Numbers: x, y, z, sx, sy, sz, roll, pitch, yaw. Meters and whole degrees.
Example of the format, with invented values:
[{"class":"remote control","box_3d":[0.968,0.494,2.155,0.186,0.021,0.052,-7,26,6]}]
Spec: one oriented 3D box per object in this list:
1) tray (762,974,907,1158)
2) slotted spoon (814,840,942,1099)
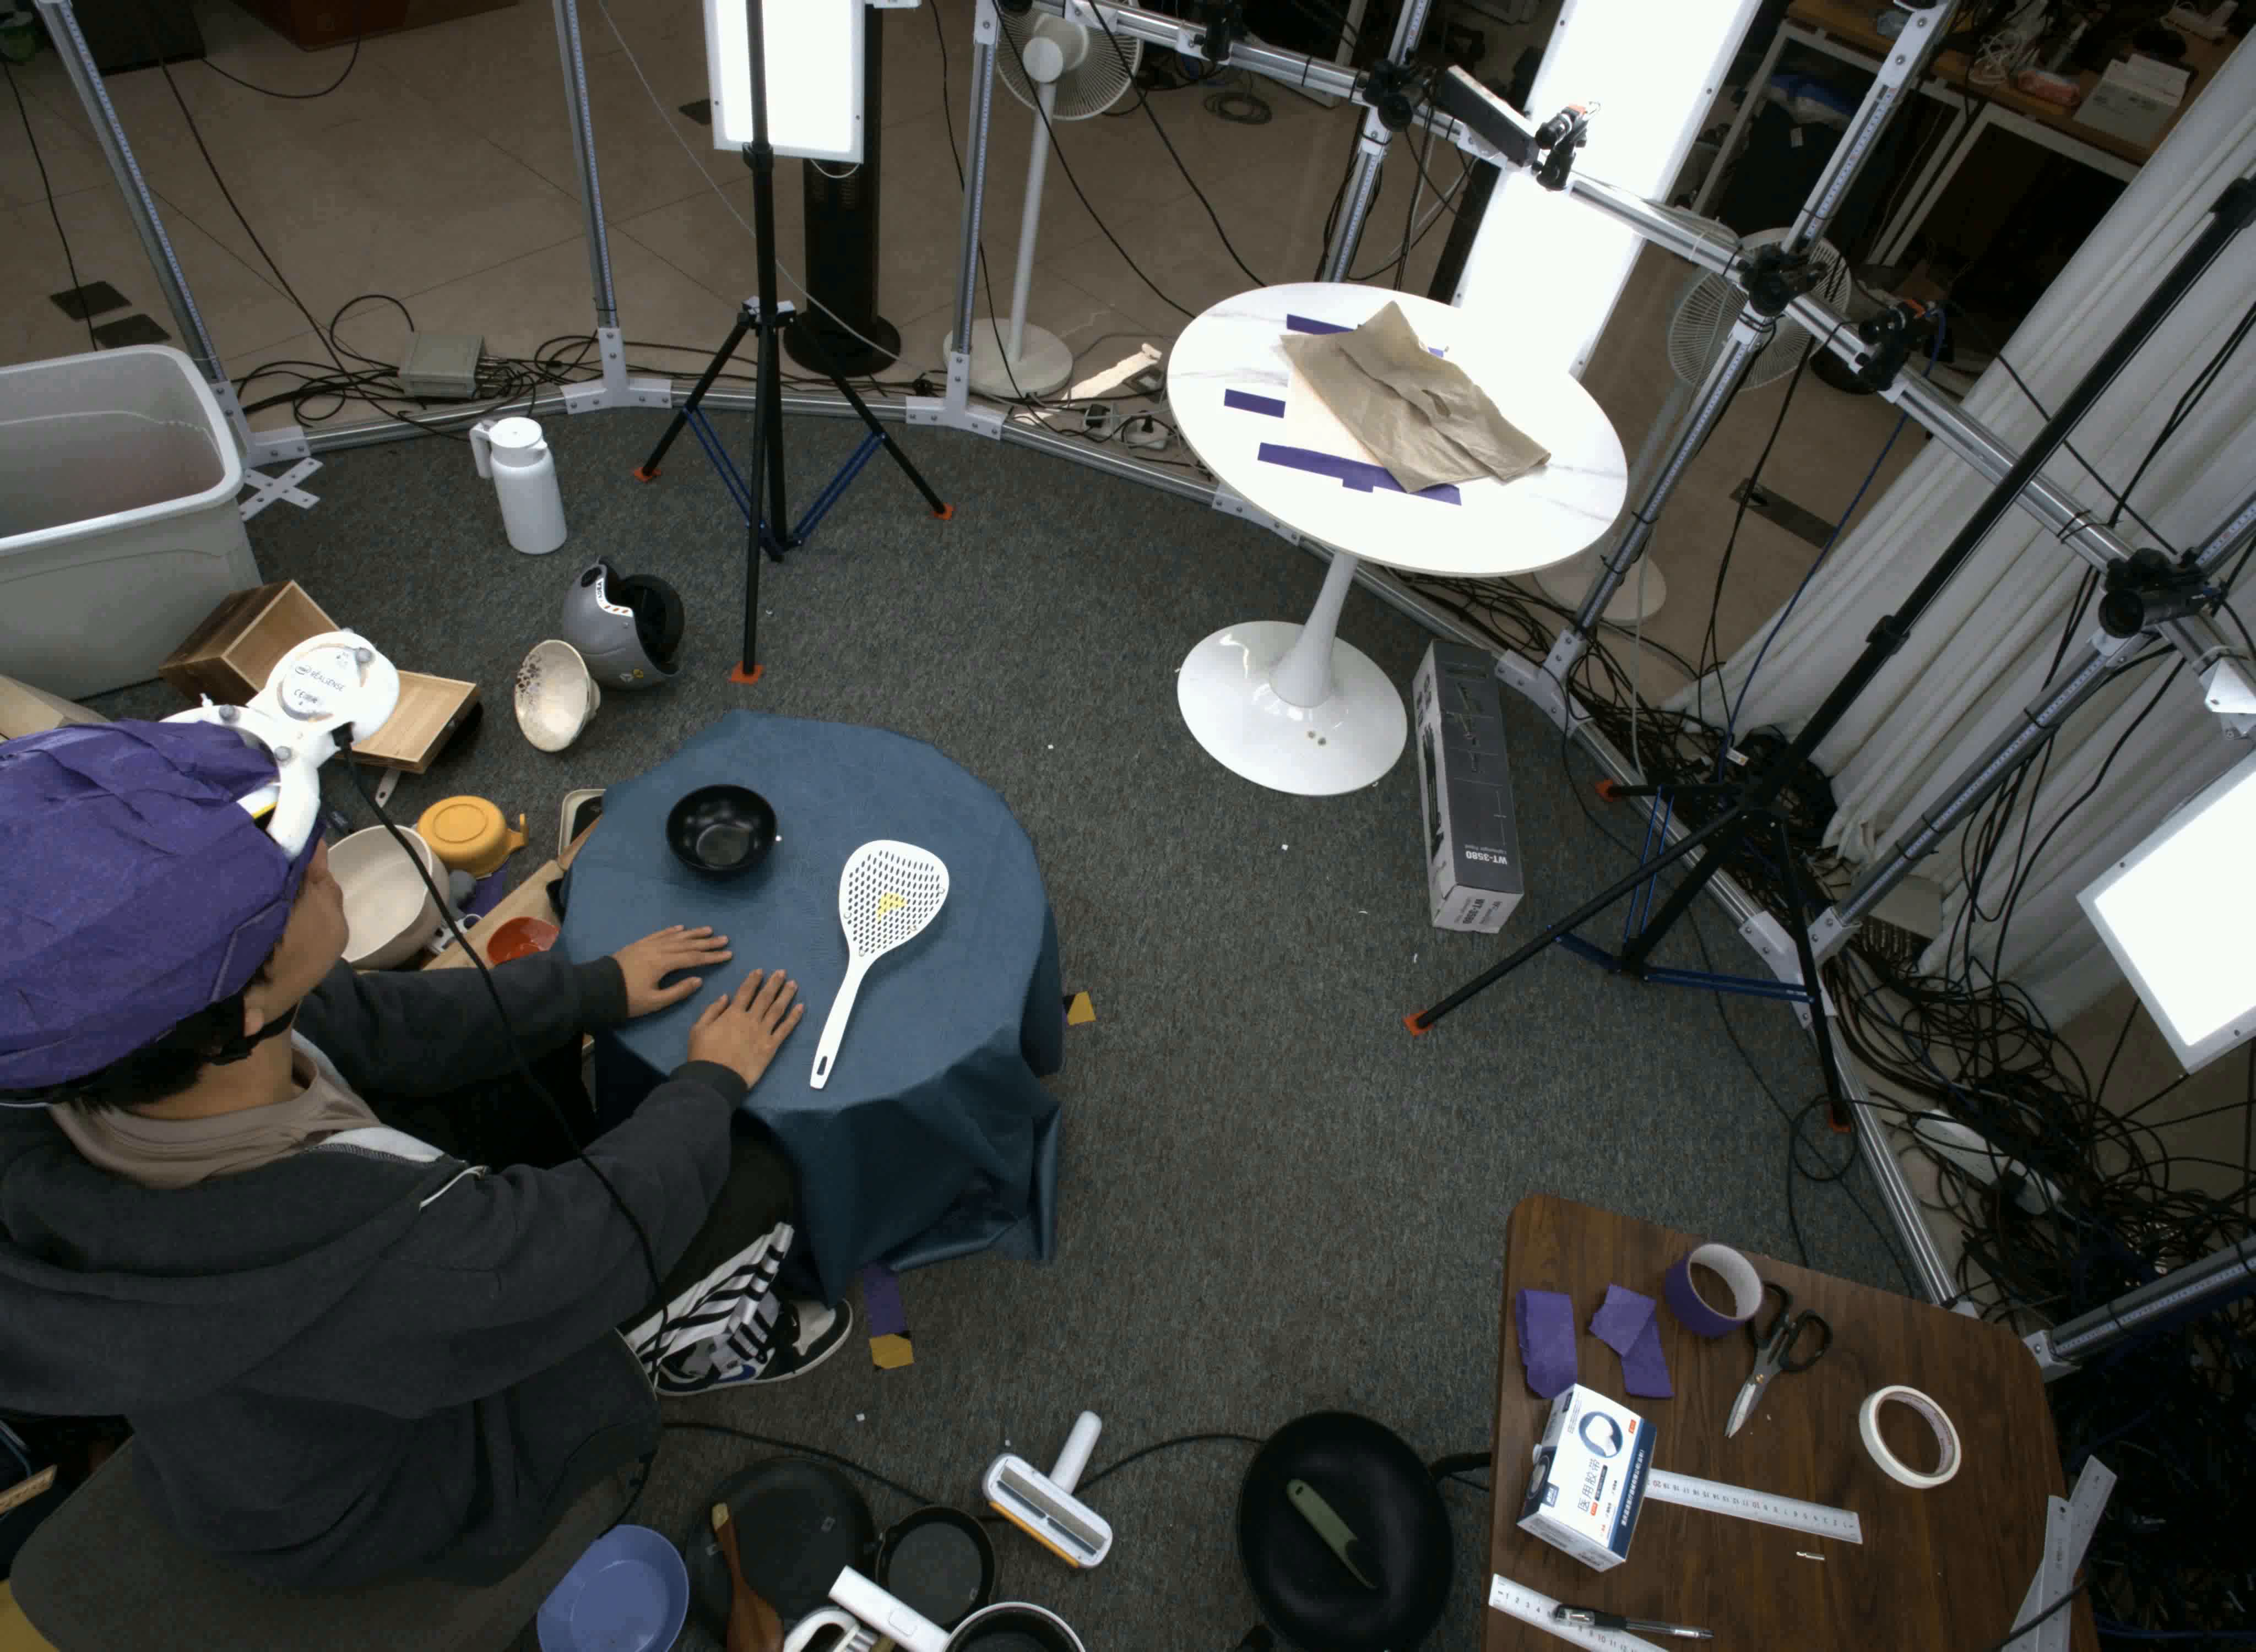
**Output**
[{"class":"tray","box_3d":[-0.486,0.385,2.135,0.192,0.028,0.293,-8,56,-20]},{"class":"slotted spoon","box_3d":[-0.332,0.167,1.602,0.136,0.051,0.343,18,52,-5]}]
